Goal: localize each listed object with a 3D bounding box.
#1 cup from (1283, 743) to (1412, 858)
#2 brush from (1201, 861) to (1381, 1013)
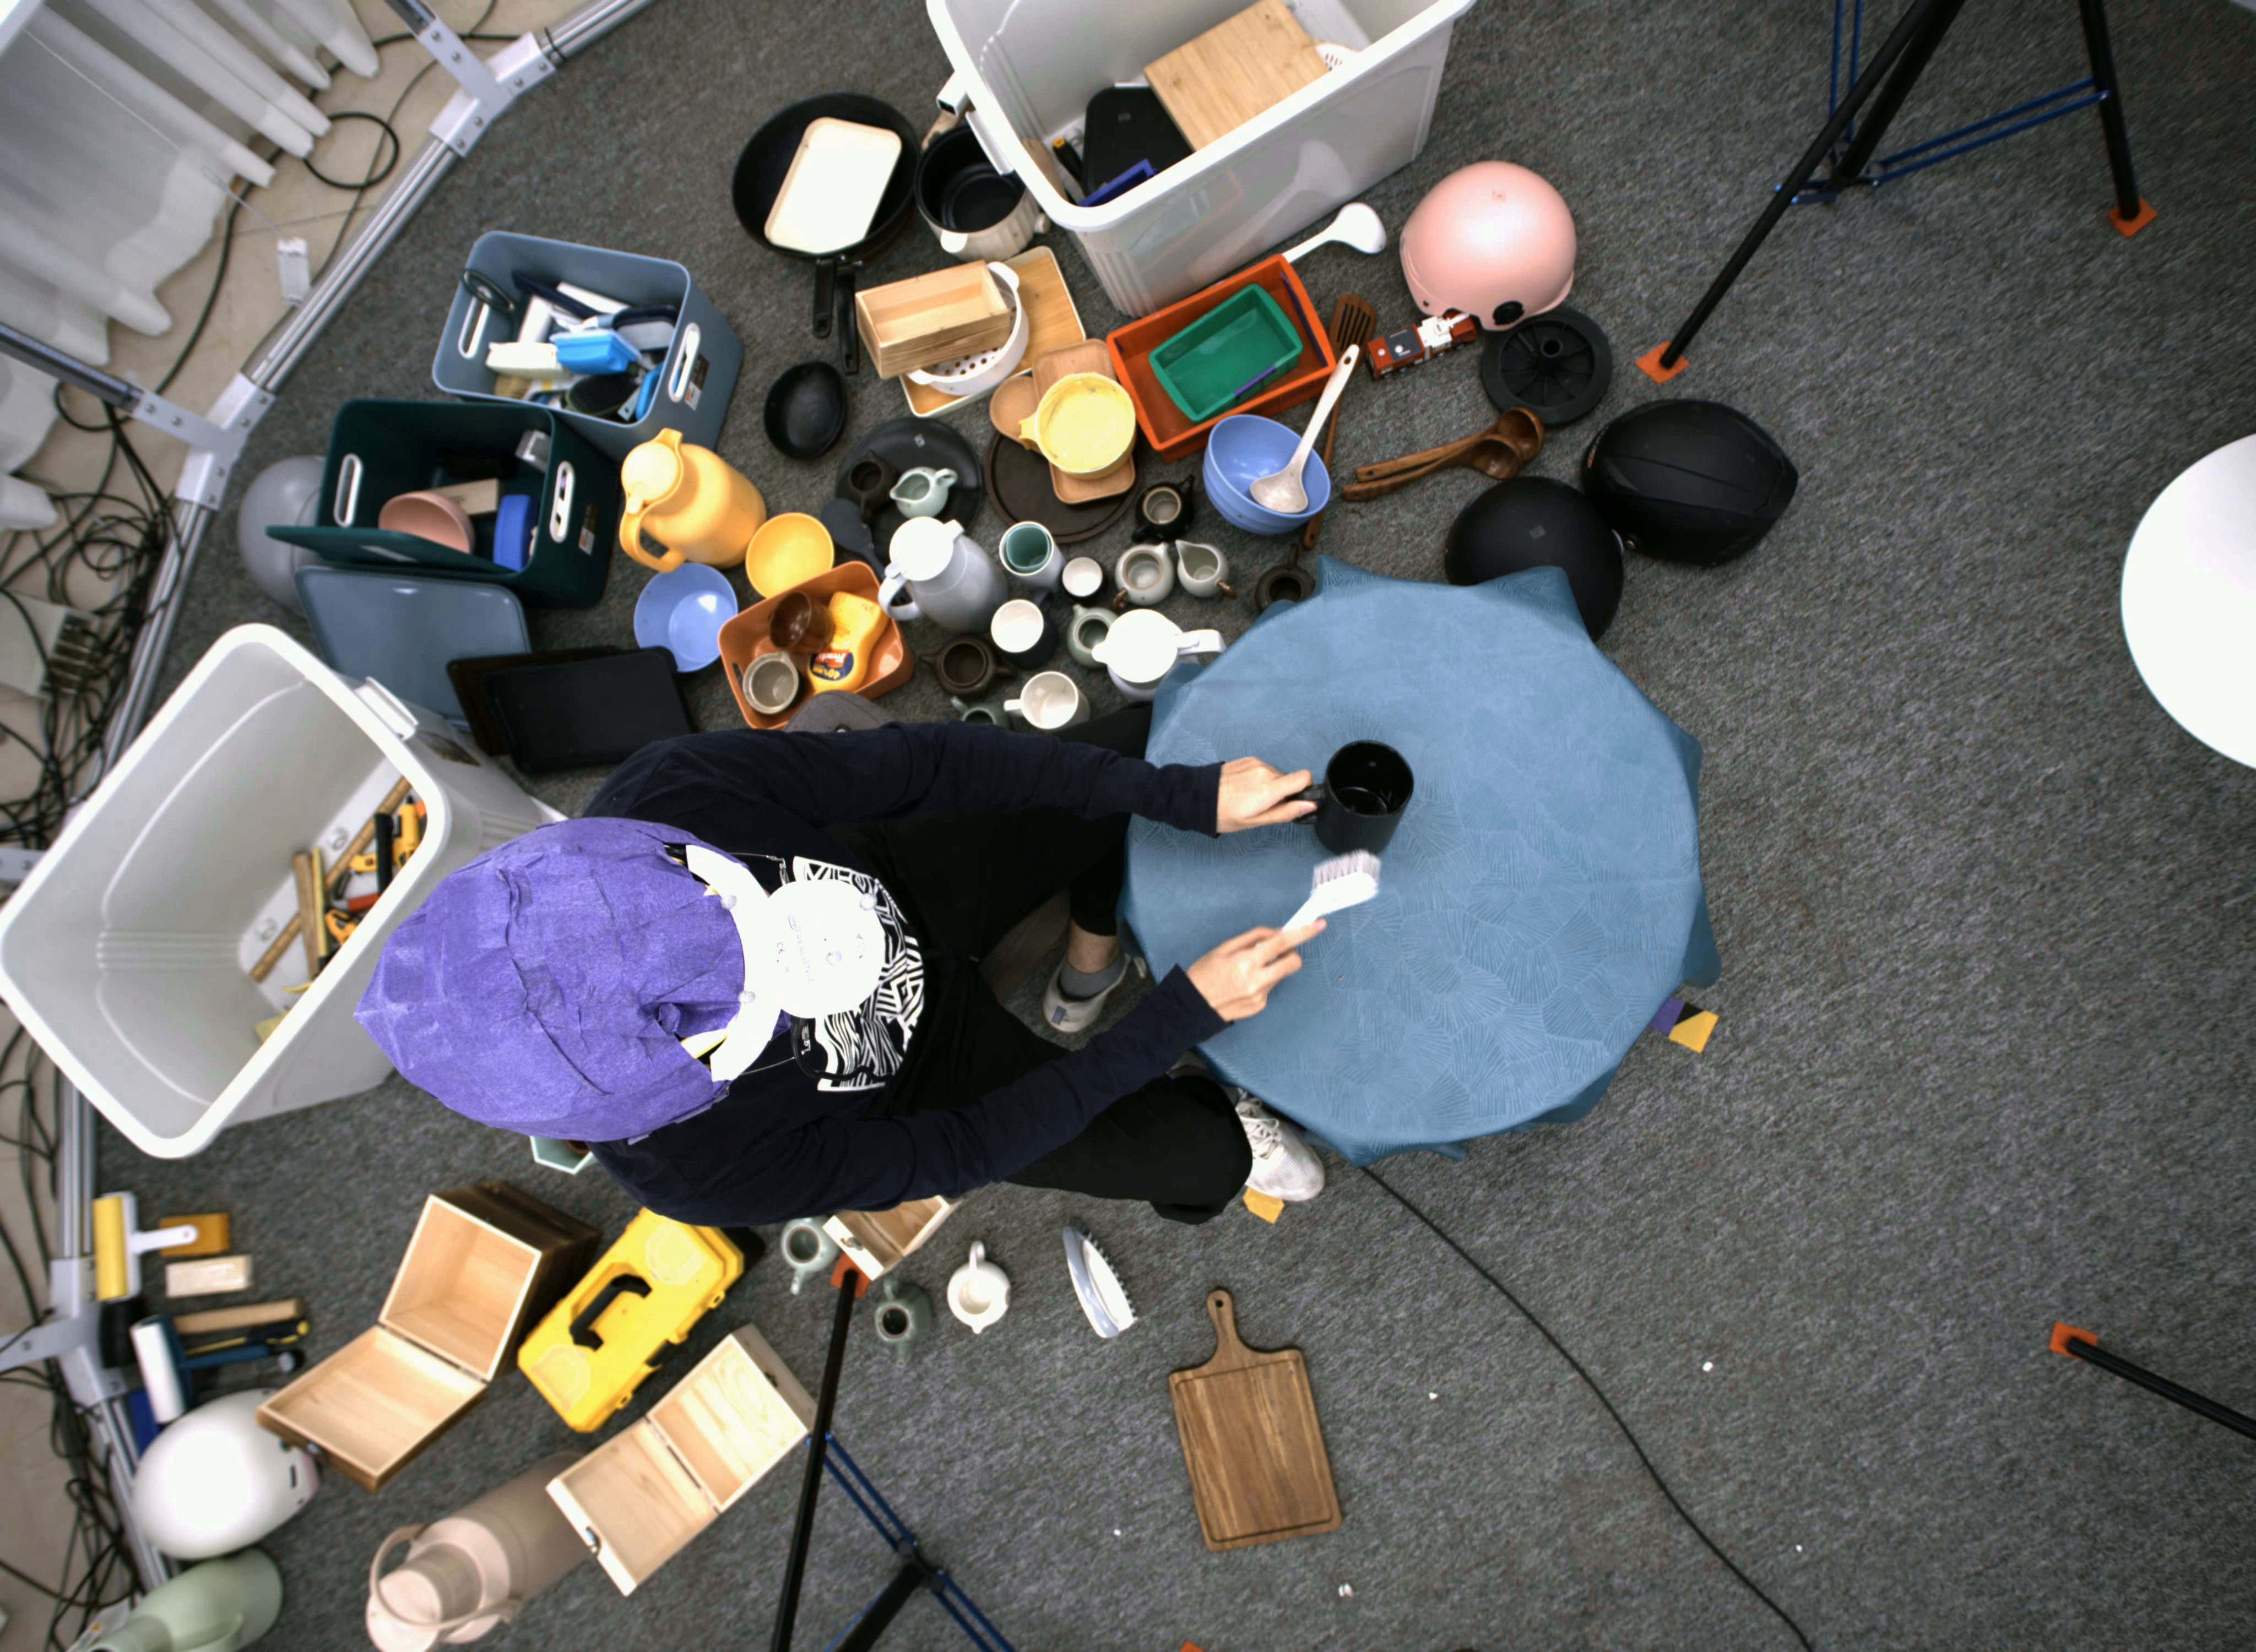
[{"bbox_3d":[0.220,-0.025,1.405,0.124,0.107,0.087,-4,70,0],"label":"cup"},{"bbox_3d":[0.155,0.109,1.382,0.248,0.034,0.049,-40,54,32],"label":"brush"}]
